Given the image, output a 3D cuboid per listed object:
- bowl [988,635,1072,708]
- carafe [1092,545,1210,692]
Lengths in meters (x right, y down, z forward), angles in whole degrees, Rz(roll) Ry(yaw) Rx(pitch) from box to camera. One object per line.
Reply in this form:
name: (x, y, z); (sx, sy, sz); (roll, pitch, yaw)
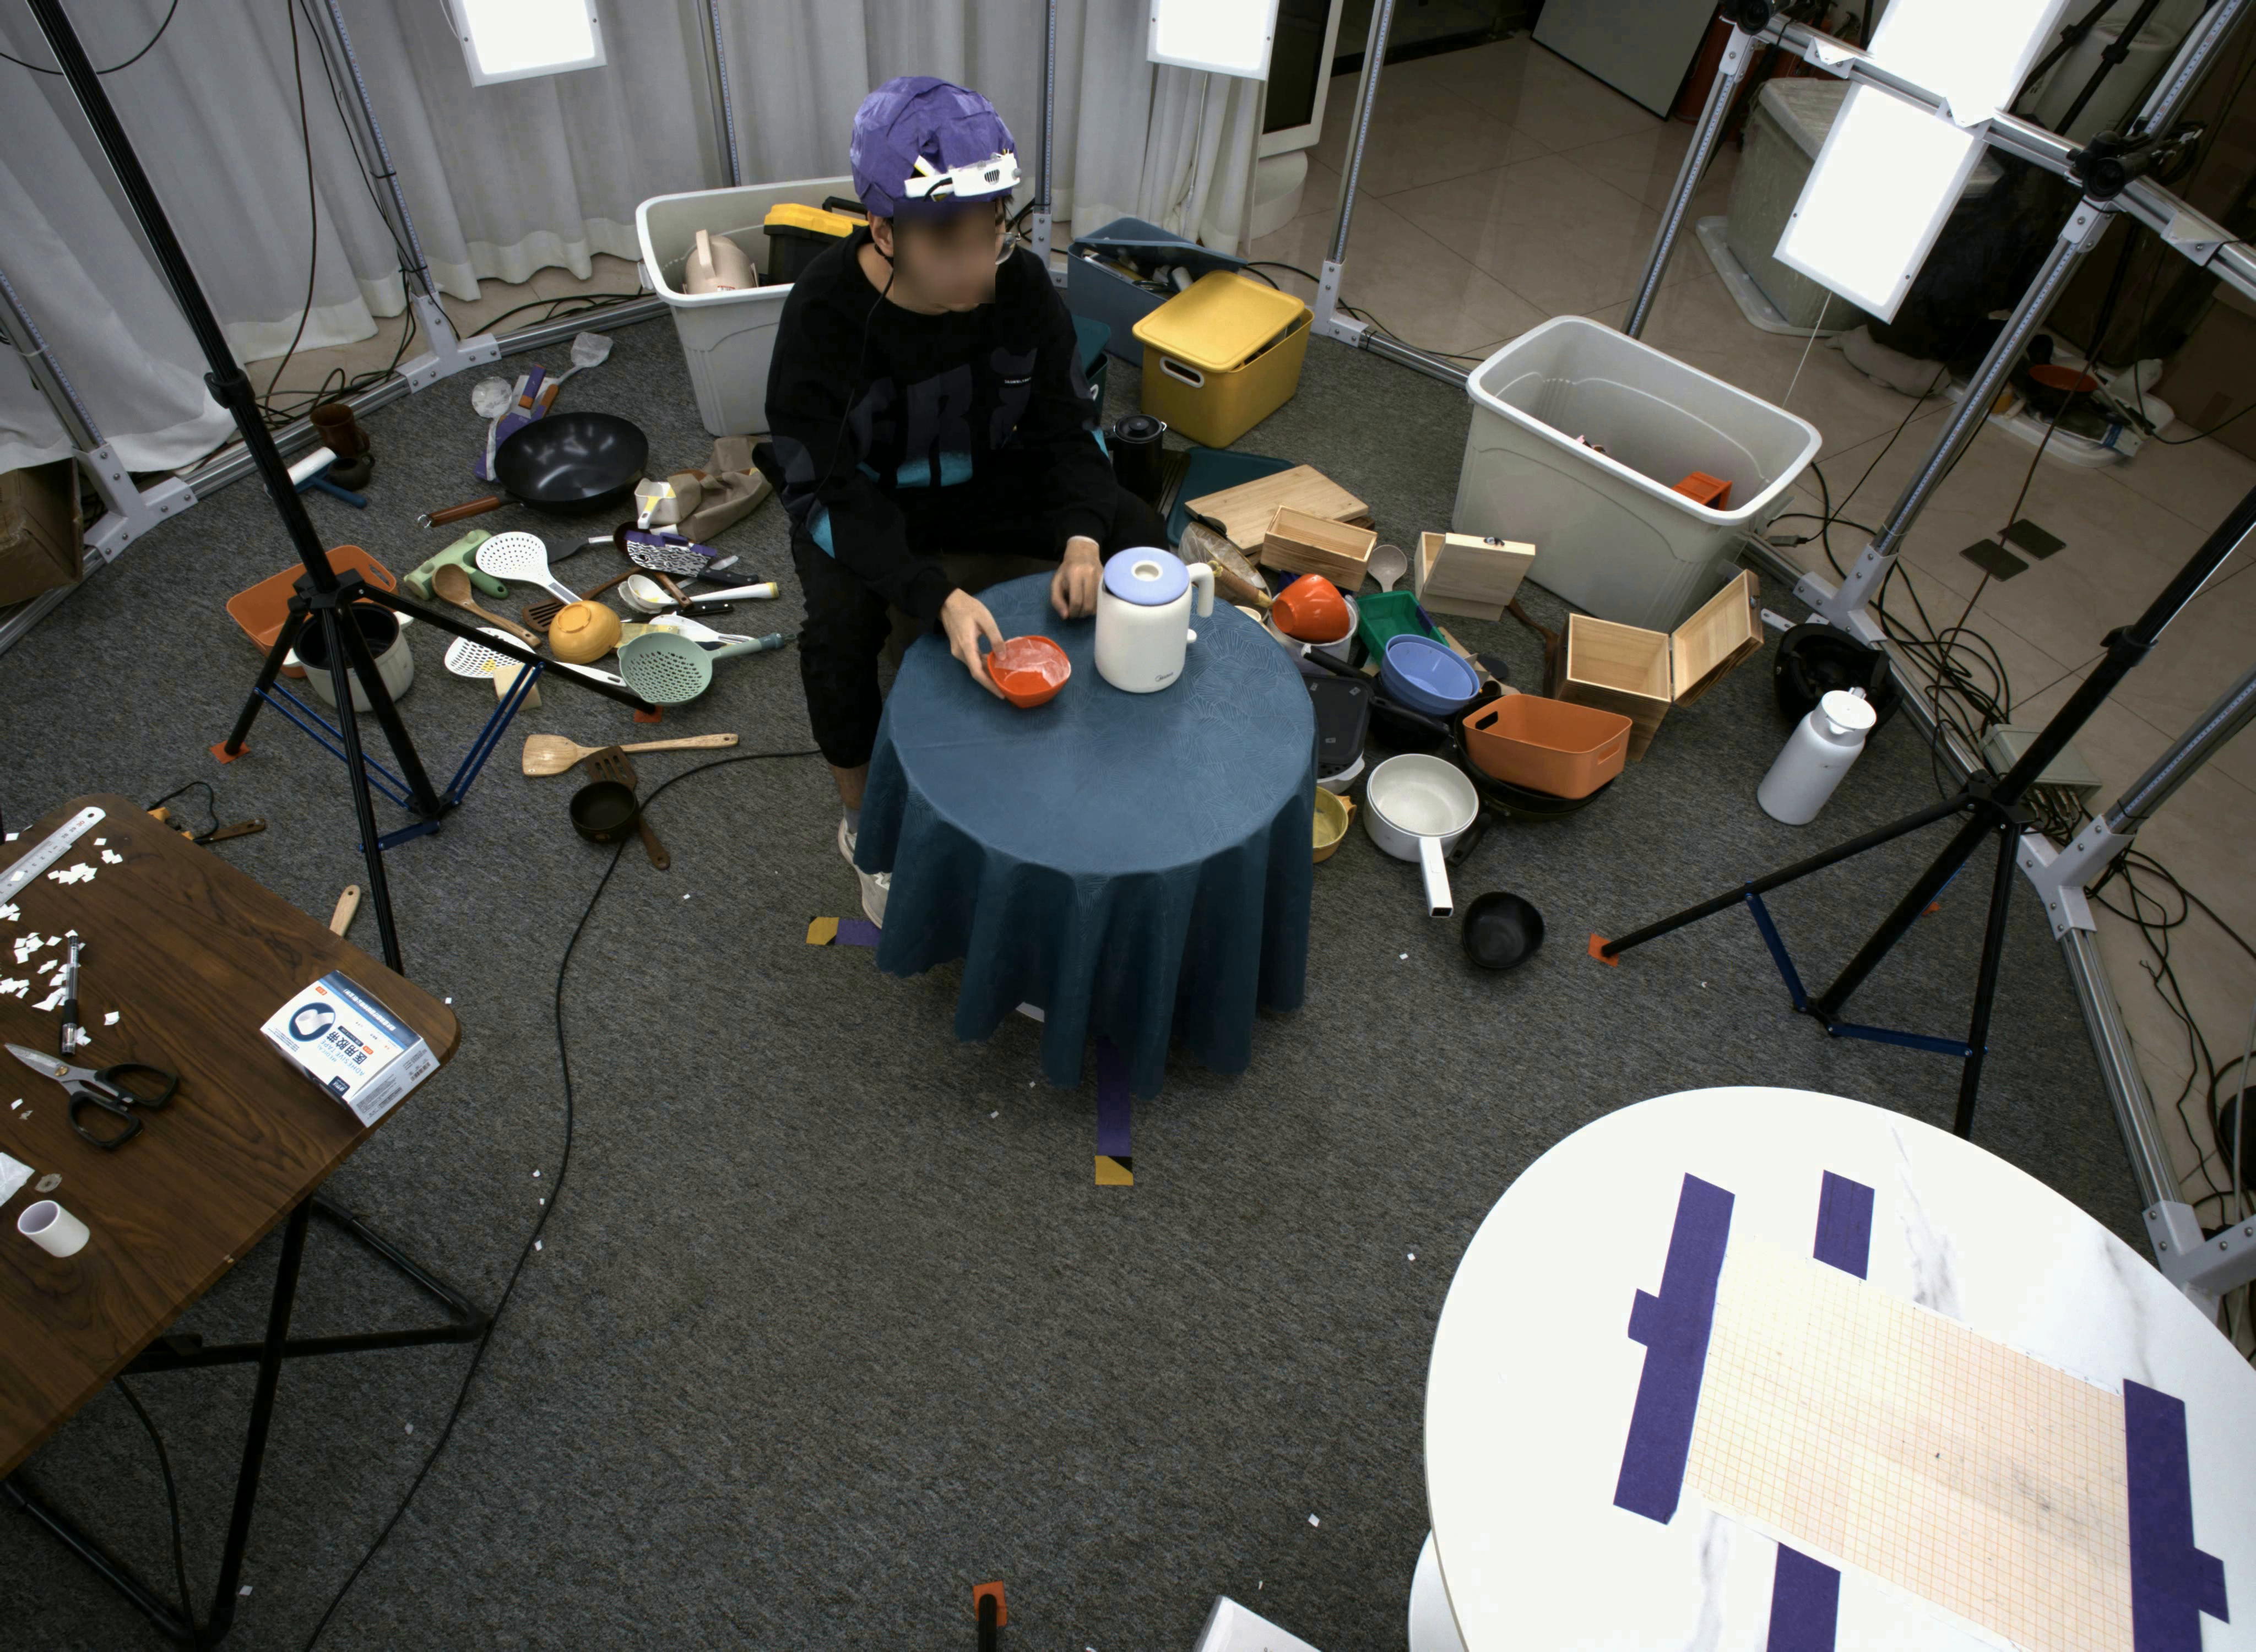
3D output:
bowl: (-0.137, -0.210, 1.802); (0.119, 0.050, 0.122); (1, 53, -2)
carafe: (0.039, -0.300, 1.822); (0.192, 0.178, 0.135); (-24, 56, -25)
